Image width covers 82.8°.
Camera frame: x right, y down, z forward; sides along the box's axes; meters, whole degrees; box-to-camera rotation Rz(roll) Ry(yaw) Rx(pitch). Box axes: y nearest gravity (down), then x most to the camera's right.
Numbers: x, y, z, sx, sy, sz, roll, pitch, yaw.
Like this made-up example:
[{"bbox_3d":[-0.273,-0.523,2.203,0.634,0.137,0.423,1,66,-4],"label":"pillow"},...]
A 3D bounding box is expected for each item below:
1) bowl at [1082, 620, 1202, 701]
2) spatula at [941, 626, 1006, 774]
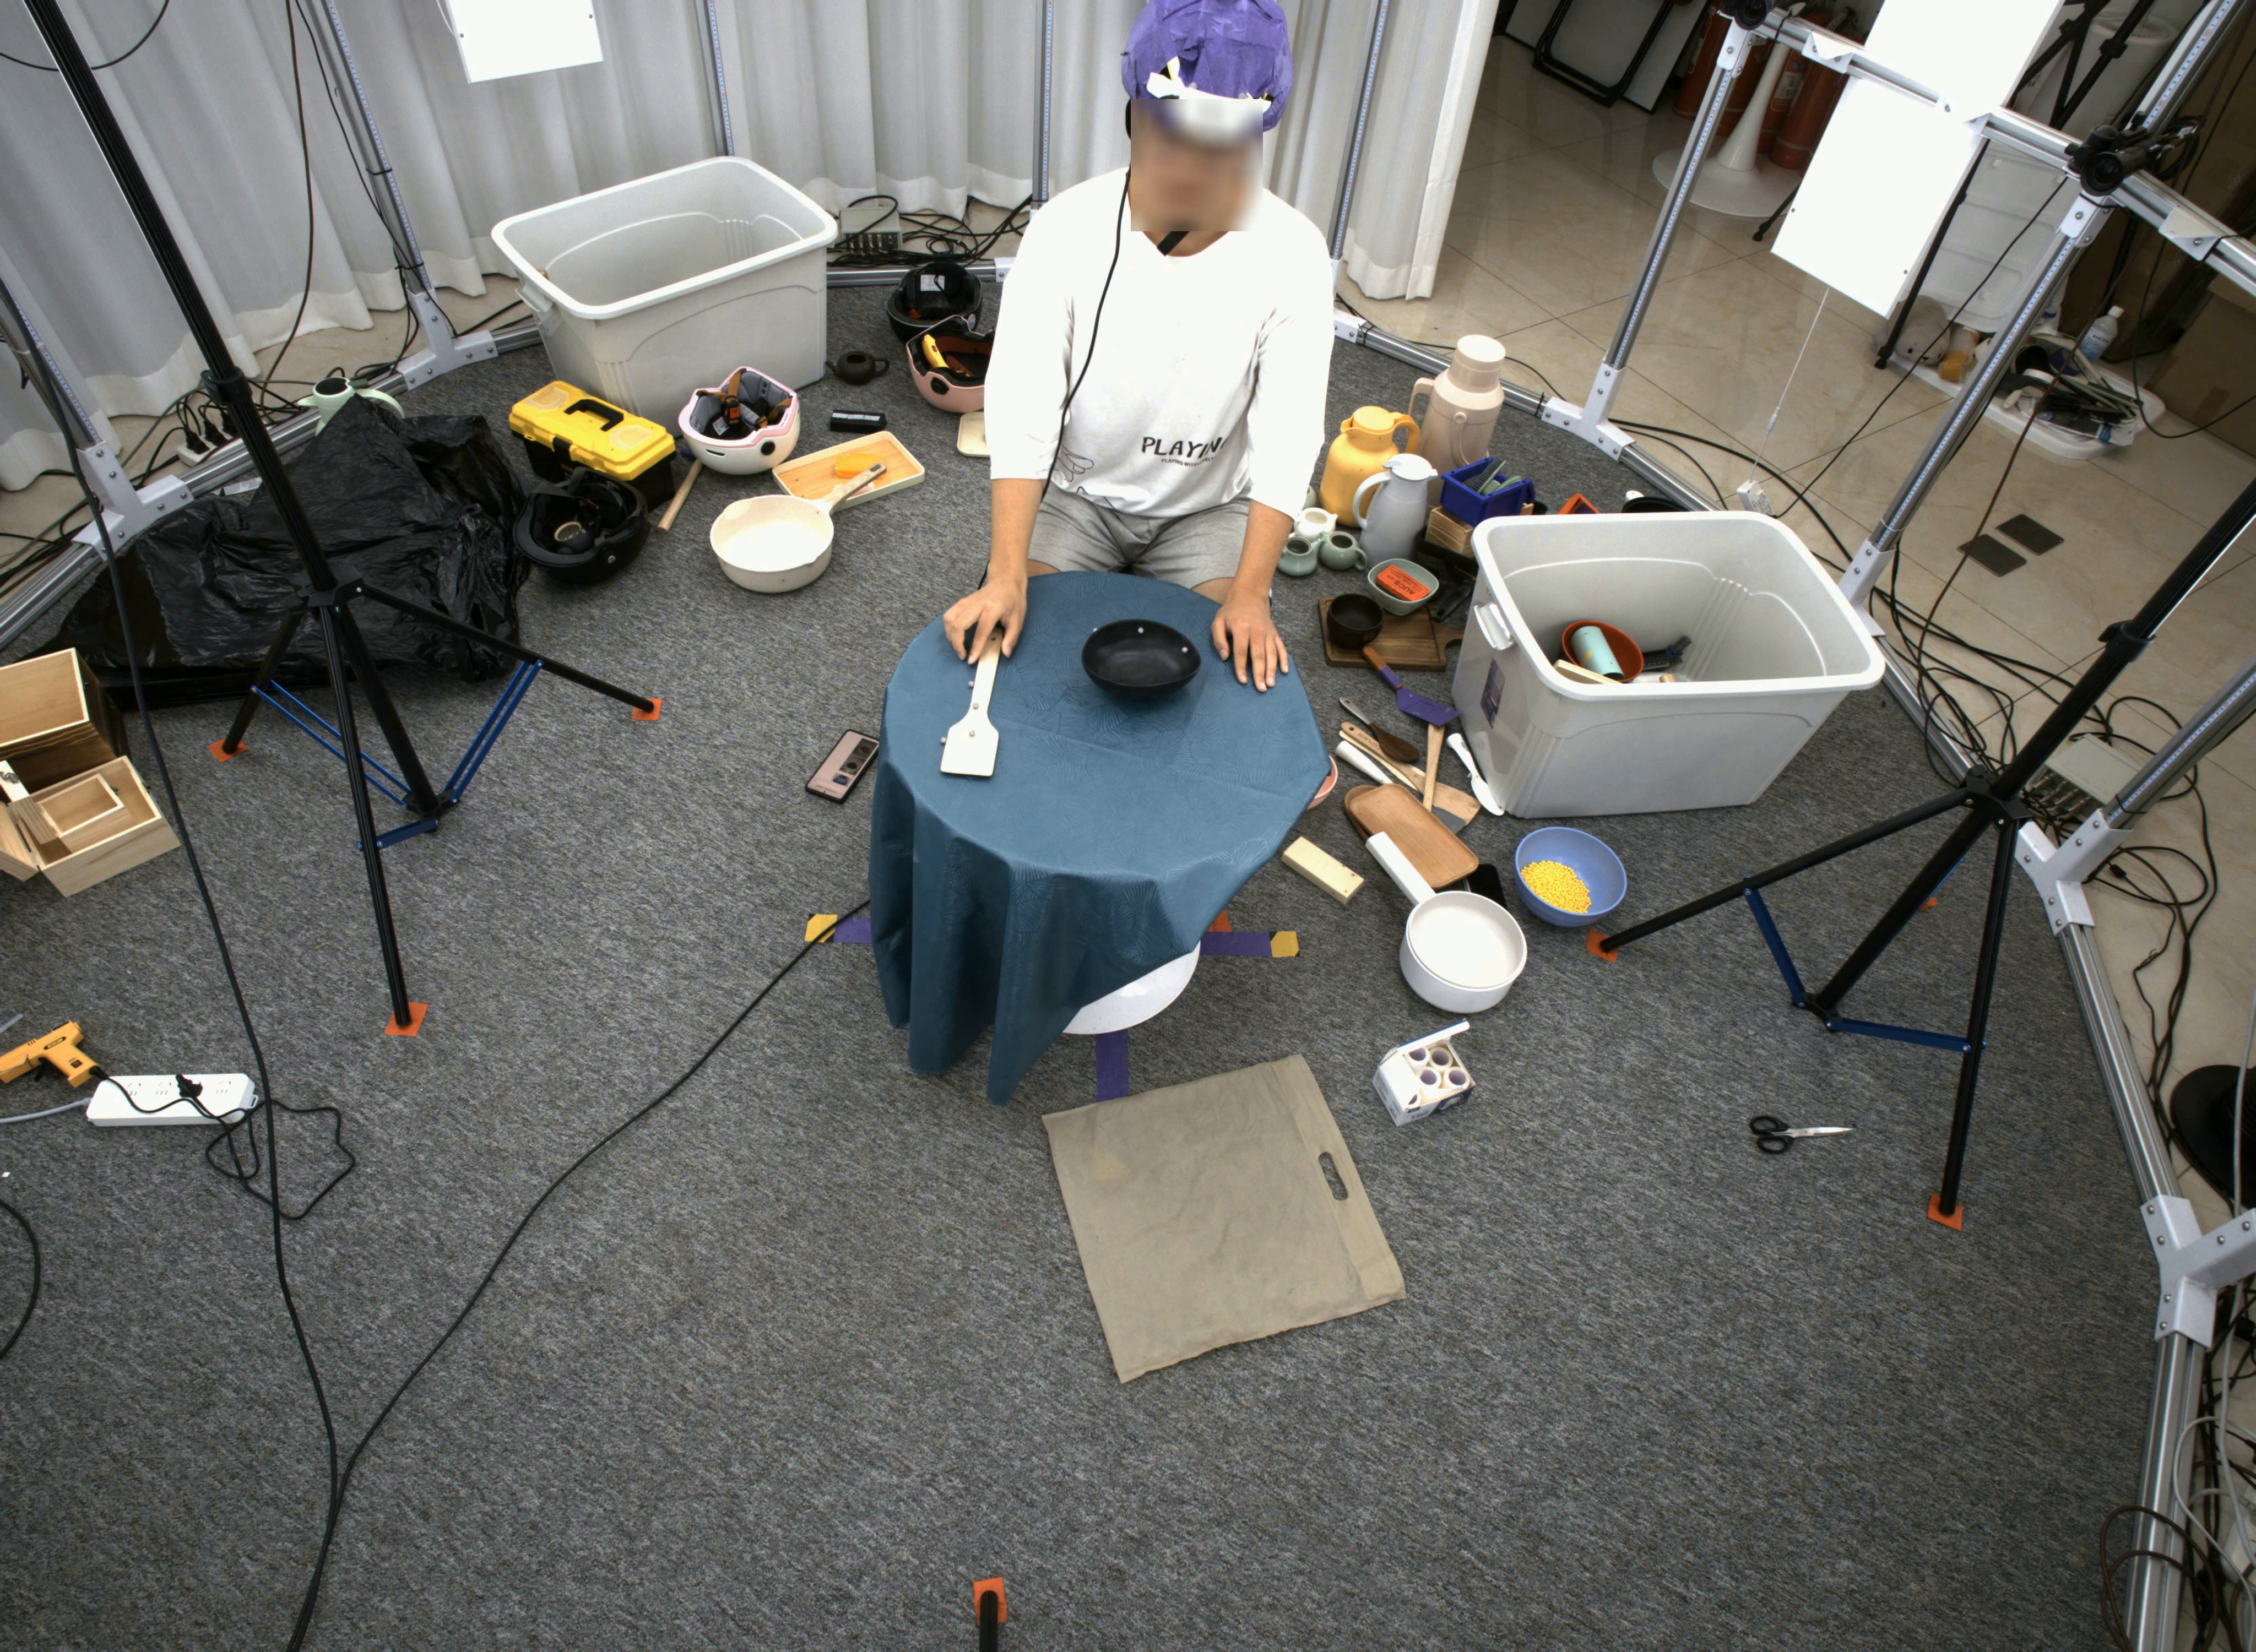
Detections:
[{"bbox_3d":[0.018,-0.225,1.820,0.170,0.065,0.141,-3,49,-10],"label":"bowl"},{"bbox_3d":[-0.204,-0.182,1.801,0.072,0.010,0.300,4,49,1],"label":"spatula"}]
